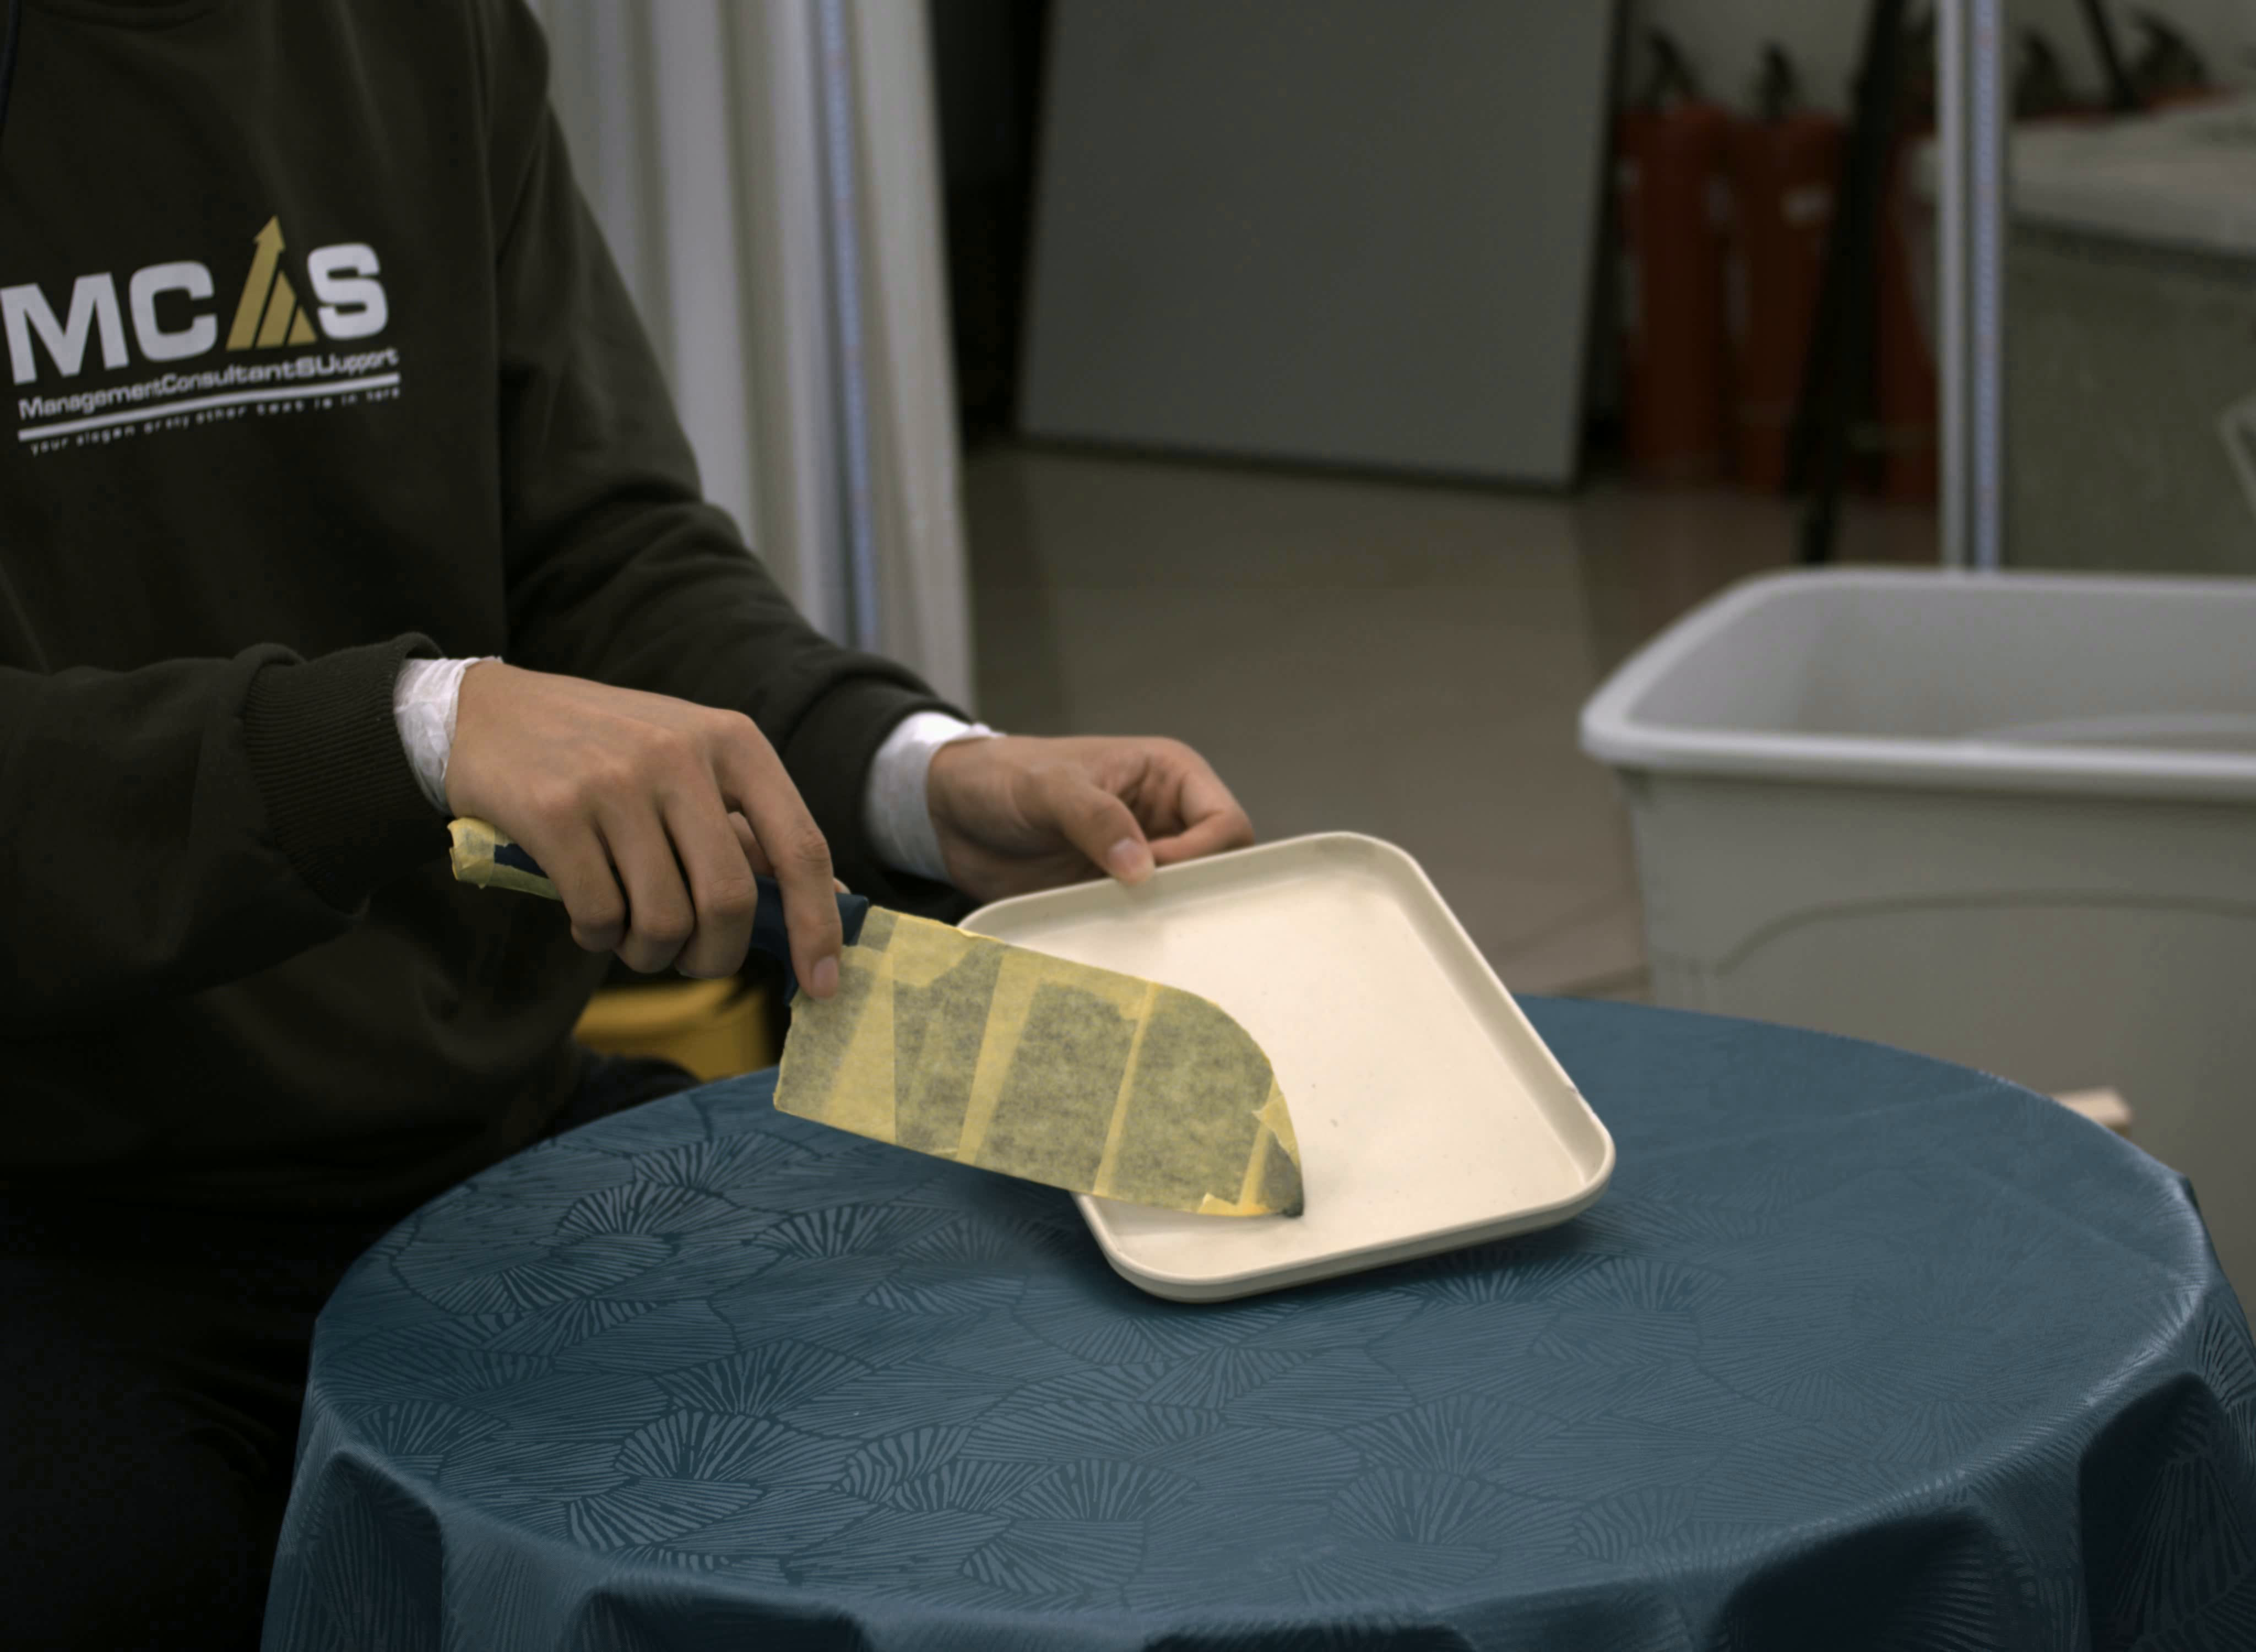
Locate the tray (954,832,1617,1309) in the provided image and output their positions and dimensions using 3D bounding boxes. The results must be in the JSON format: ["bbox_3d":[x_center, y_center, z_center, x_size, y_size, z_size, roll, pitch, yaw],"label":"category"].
[{"bbox_3d":[0.047,0.078,1.760,0.168,0.017,0.242,-13,32,-12],"label":"tray"}]

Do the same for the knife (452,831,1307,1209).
[{"bbox_3d":[-0.080,0.060,1.699,0.286,0.081,0.027,18,-16,2],"label":"knife"}]
